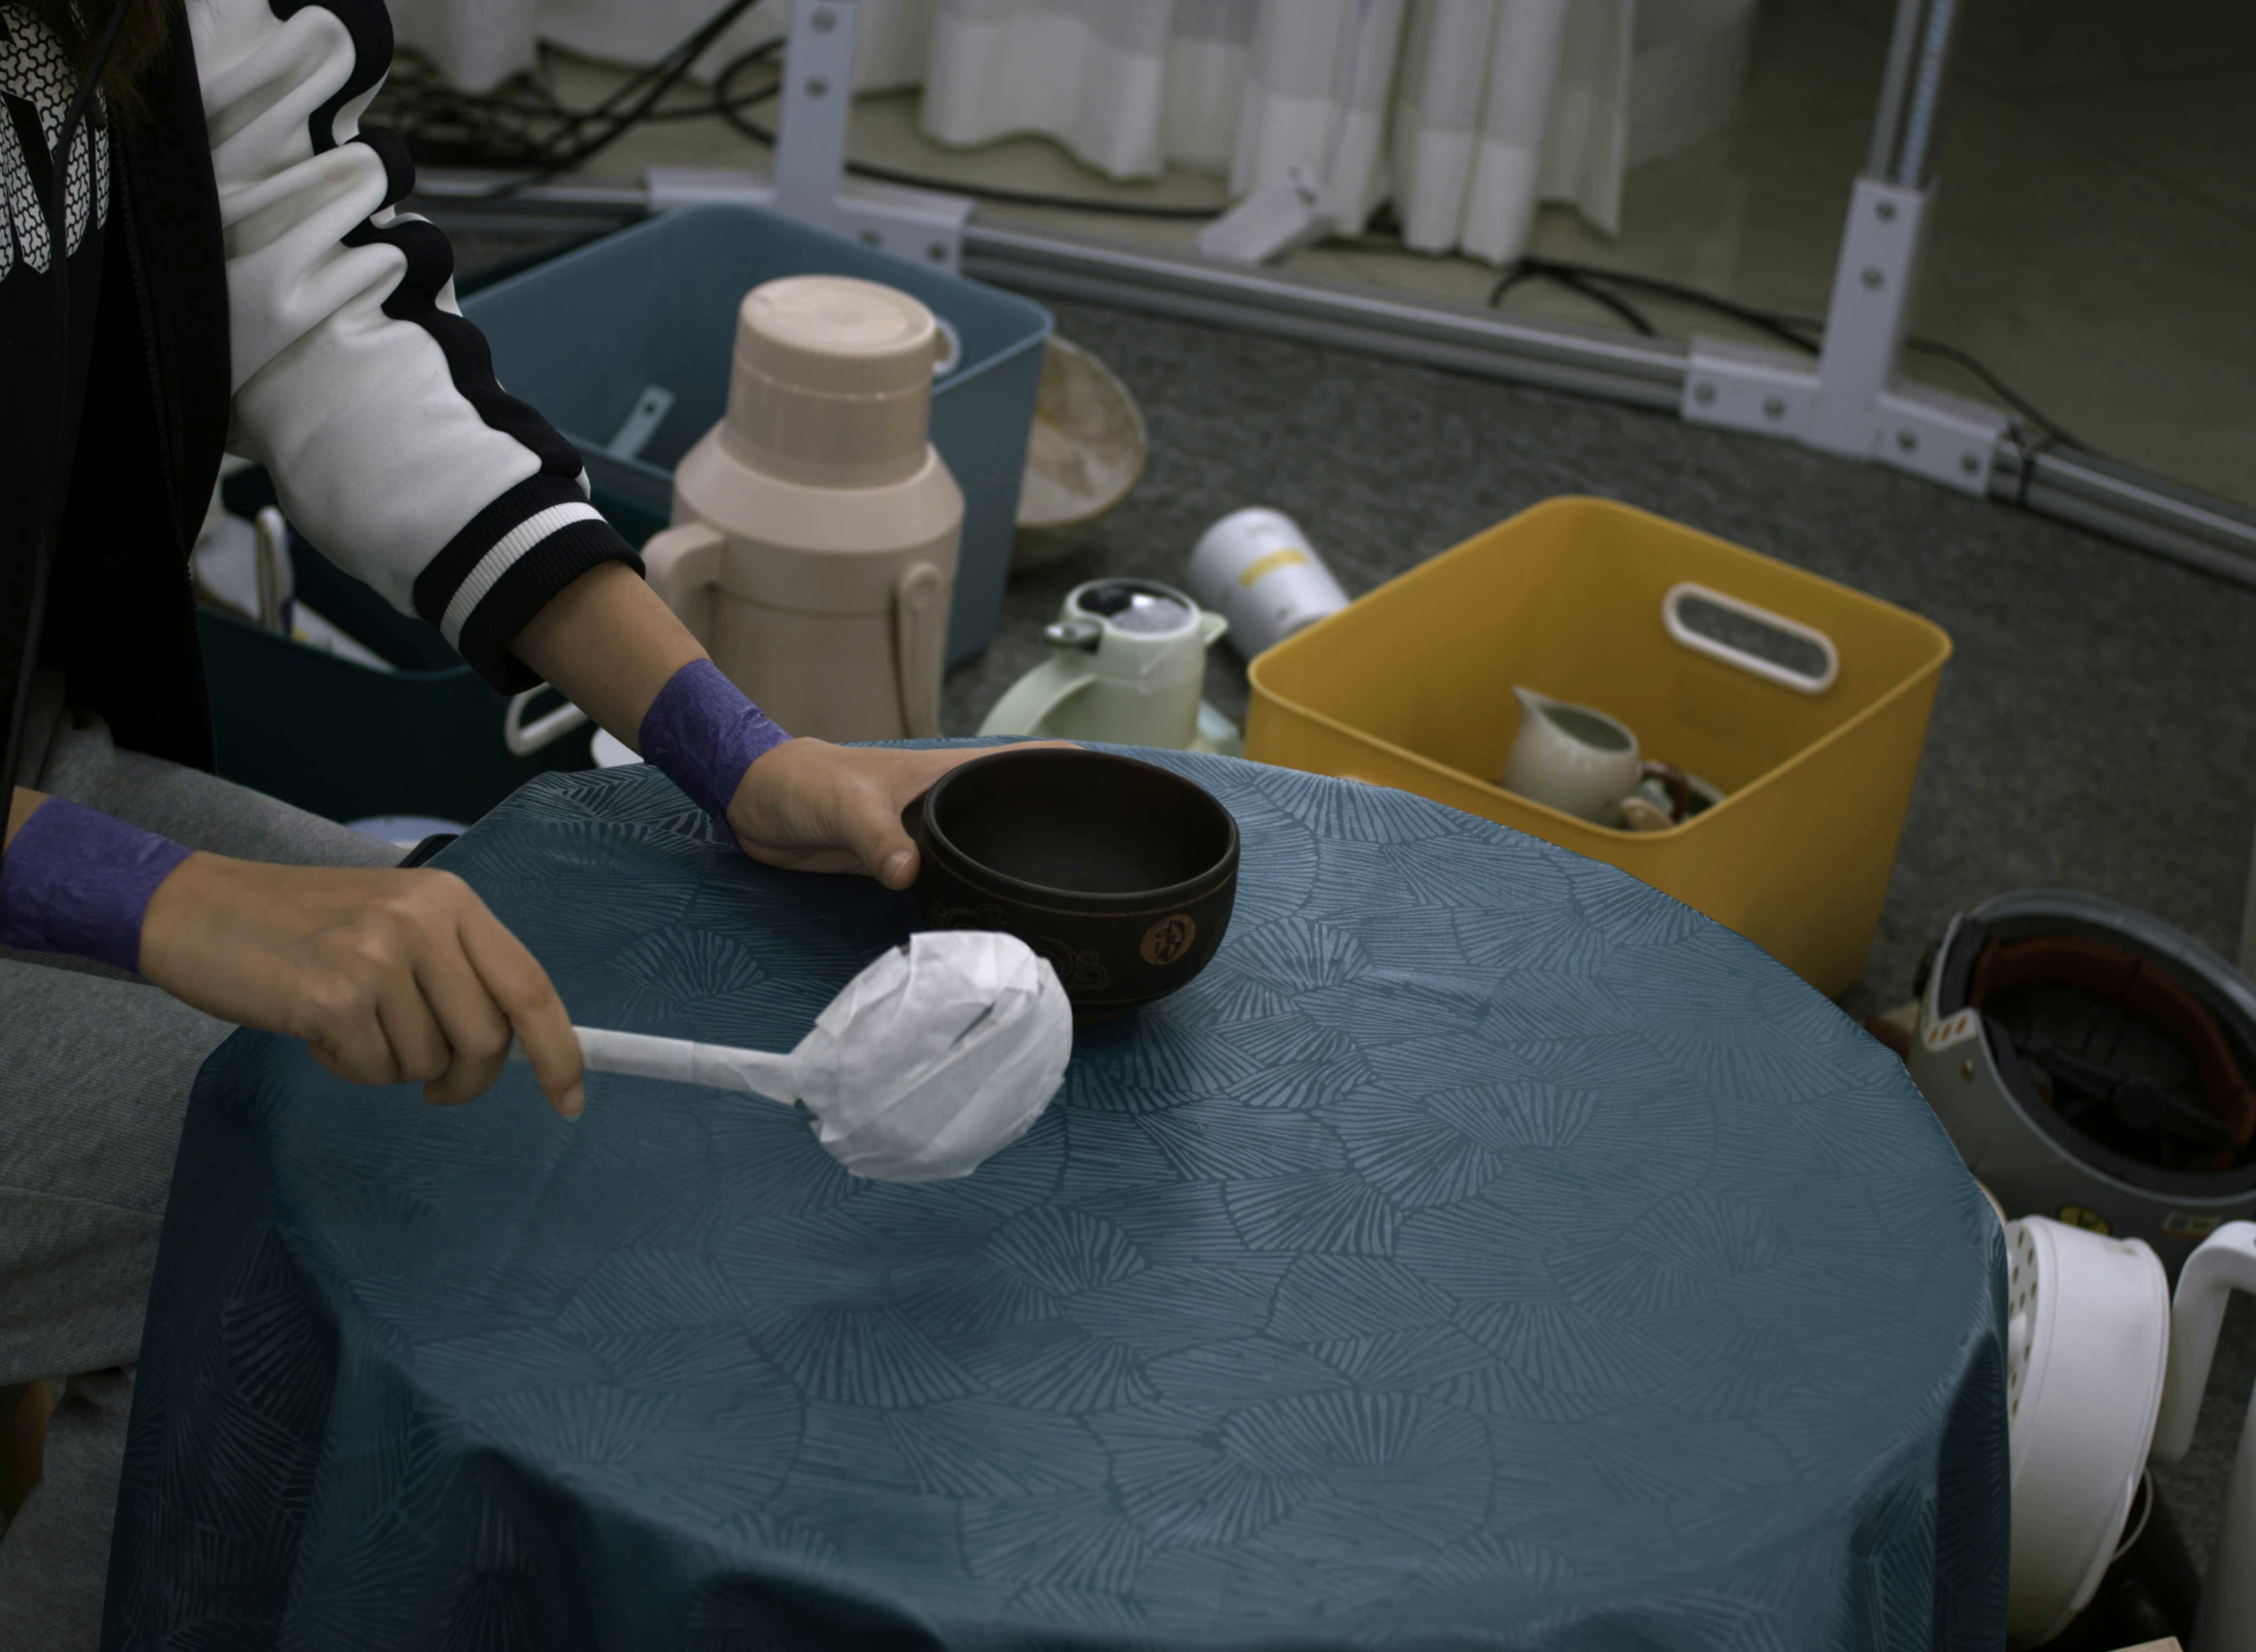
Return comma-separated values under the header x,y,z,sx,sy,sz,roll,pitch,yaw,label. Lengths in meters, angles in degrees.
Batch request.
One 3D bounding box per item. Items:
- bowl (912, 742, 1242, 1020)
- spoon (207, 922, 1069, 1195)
x,y,z,sx,sy,sz,roll,pitch,yaw,label
-0.020,0.026,1.908,0.117,0.069,0.119,5,27,-3,bowl
-0.160,0.068,1.737,0.277,0.100,0.059,6,22,10,spoon
